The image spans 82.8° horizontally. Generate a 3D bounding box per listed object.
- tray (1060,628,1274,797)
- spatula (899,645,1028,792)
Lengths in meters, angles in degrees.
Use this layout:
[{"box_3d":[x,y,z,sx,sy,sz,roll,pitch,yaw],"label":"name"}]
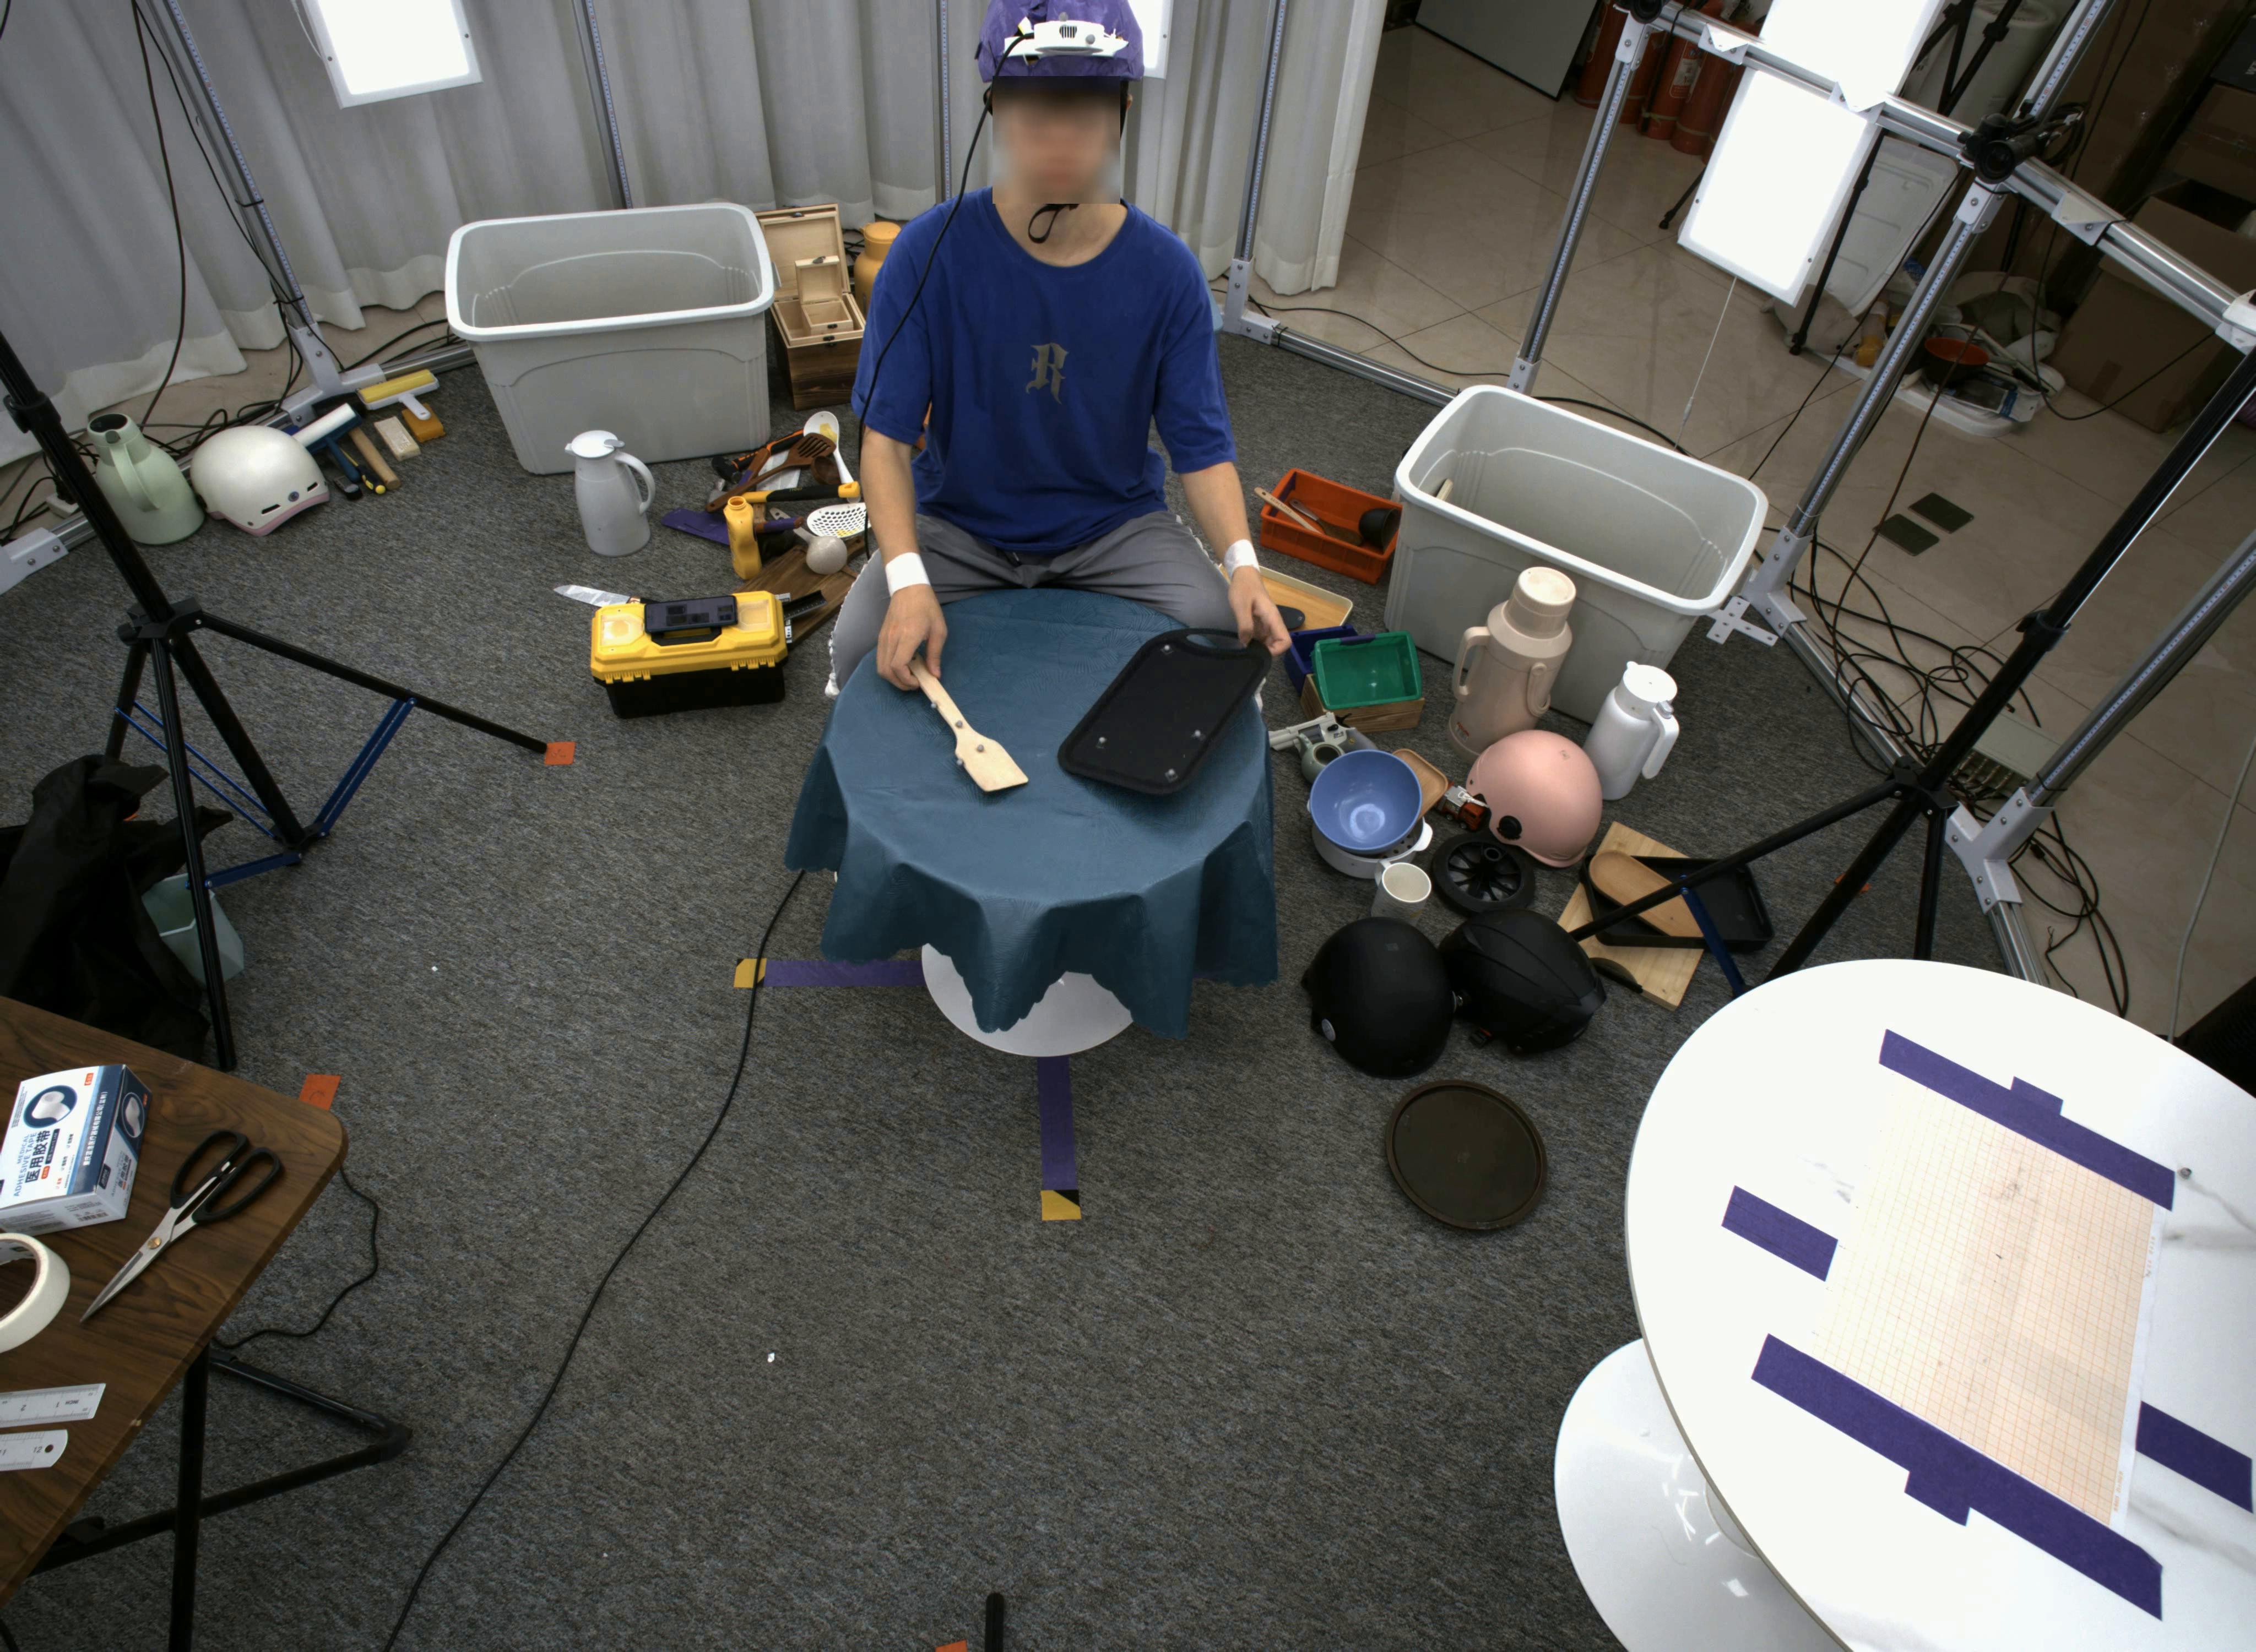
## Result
[{"box_3d":[0.058,-0.170,1.776,0.213,0.009,0.330,18,54,29],"label":"tray"},{"box_3d":[-0.239,-0.153,1.770,0.072,0.010,0.298,-18,55,-32],"label":"spatula"}]
